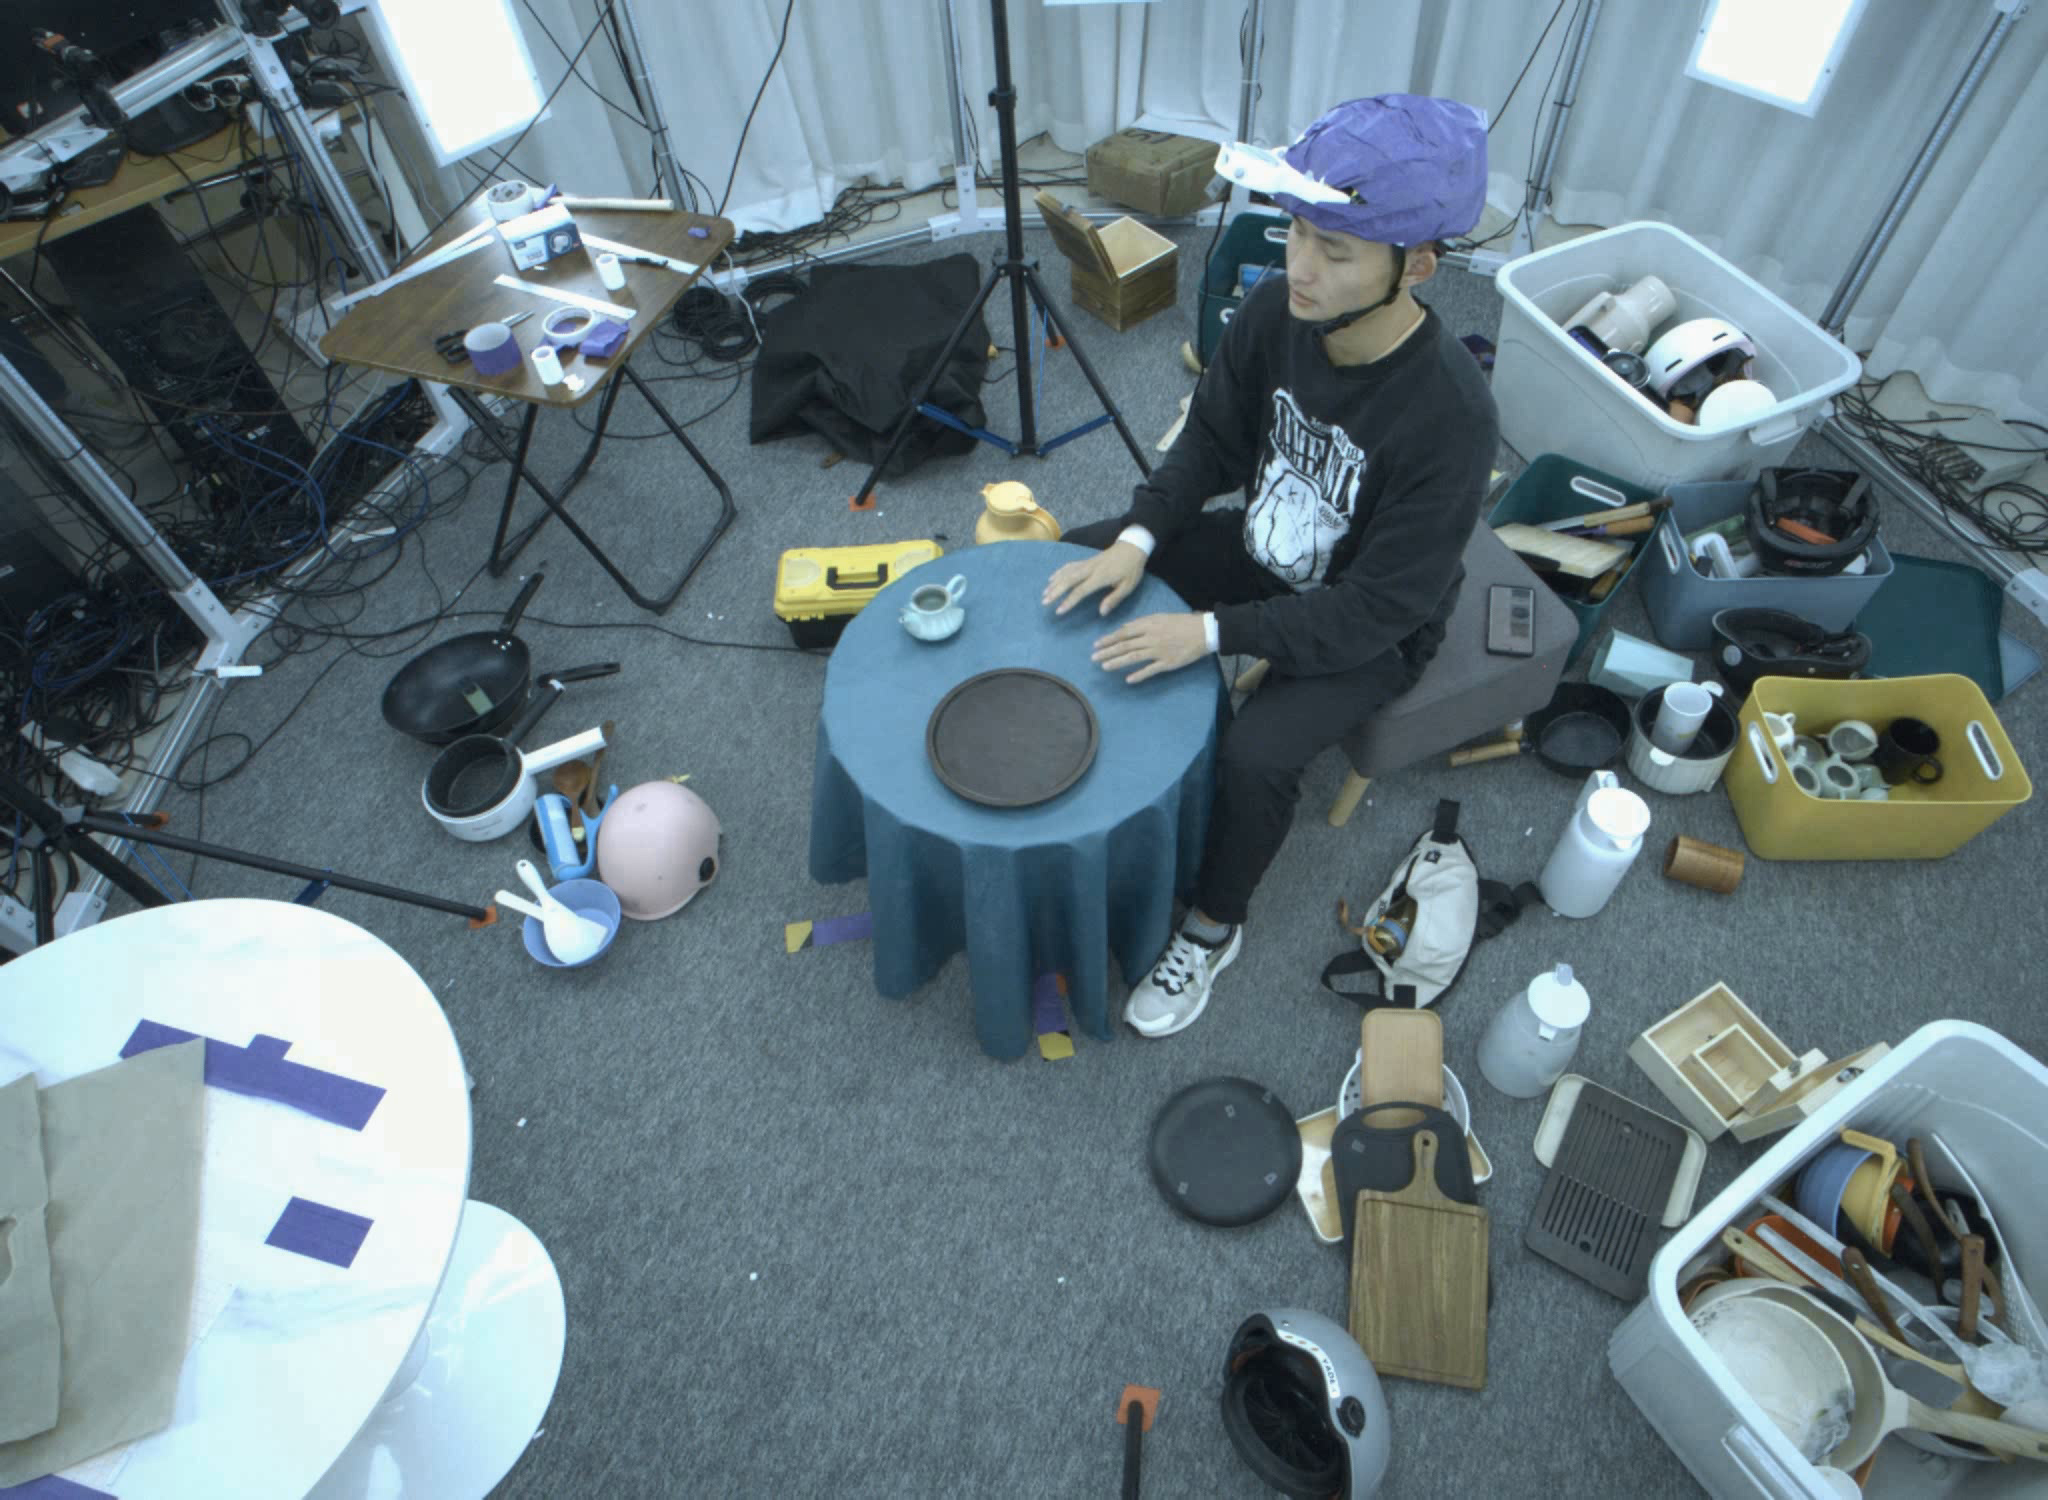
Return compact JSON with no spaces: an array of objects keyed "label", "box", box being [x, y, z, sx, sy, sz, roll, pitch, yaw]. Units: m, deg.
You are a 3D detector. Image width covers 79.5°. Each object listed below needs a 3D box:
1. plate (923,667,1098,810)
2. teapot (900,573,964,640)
[{"label":"plate","box":[-0.019,-0.019,1.782,0.254,0.029,0.252,-1,54,3]},{"label":"teapot","box":[-0.142,-0.221,1.909,0.094,0.062,0.138,34,63,25]}]
